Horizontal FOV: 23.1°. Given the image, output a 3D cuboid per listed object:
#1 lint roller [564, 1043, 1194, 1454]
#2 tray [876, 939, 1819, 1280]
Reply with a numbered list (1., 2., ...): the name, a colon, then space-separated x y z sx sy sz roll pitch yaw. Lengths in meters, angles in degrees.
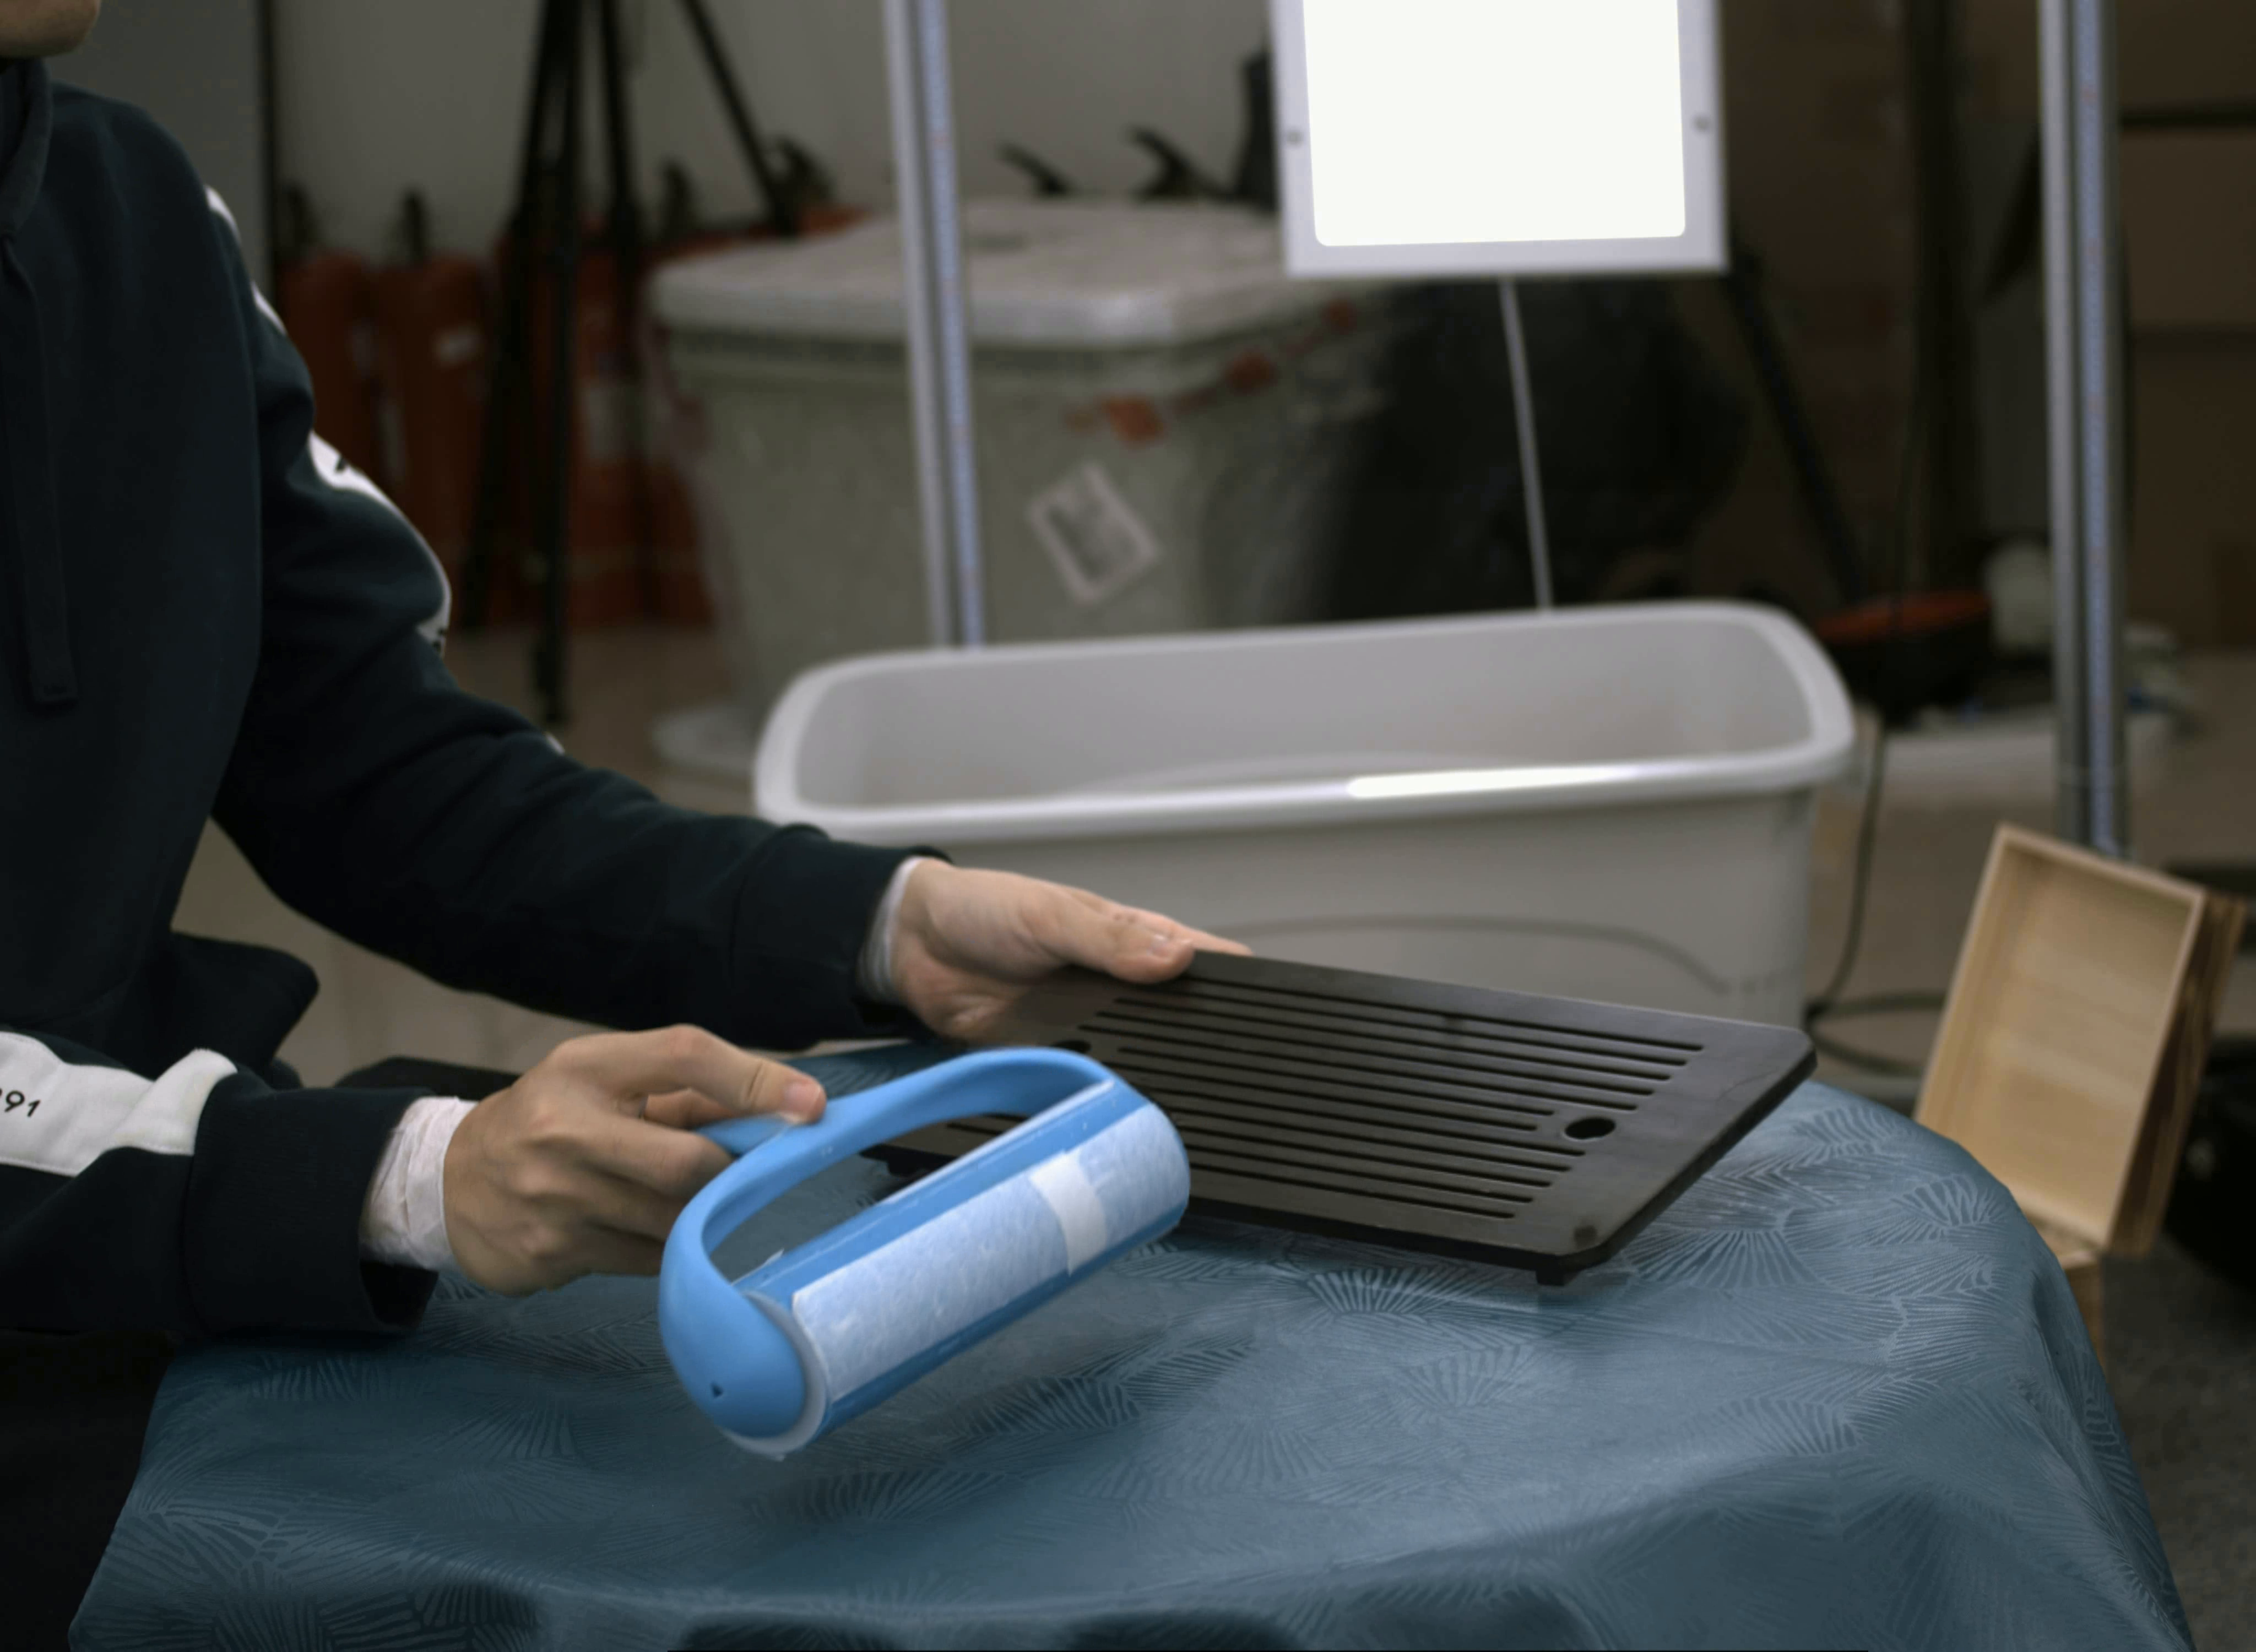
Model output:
1. lint roller: -0.104 0.120 1.710 0.183 0.068 0.223 10 24 31
2. tray: 0.070 0.095 1.890 0.312 0.018 0.166 6 28 36
